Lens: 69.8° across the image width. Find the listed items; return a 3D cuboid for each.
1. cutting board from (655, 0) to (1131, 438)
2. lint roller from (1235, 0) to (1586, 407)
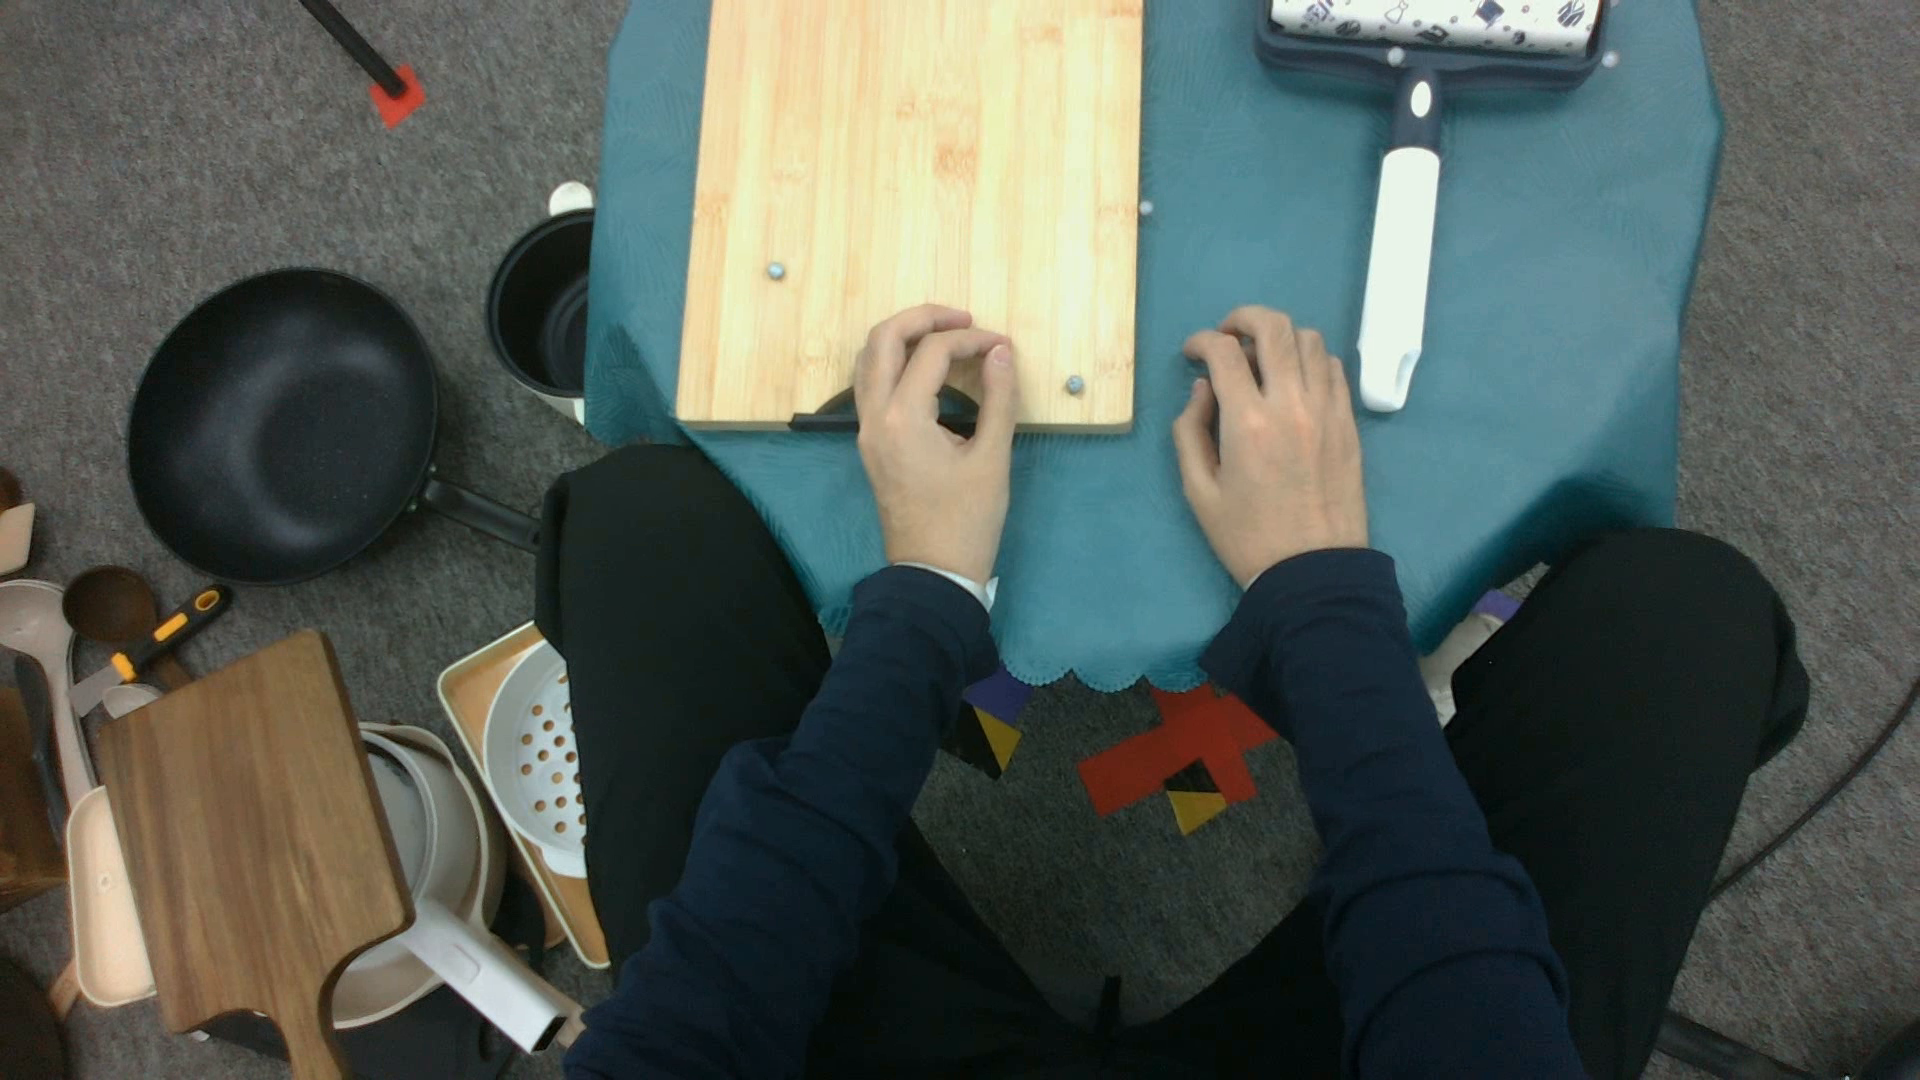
[{"bbox_3d":[-0.031,-0.224,0.754,0.250,0.023,0.349,0,77,6],"label":"cutting board"},{"bbox_3d":[0.222,-0.191,0.707,0.176,0.050,0.247,7,80,6],"label":"lint roller"}]
